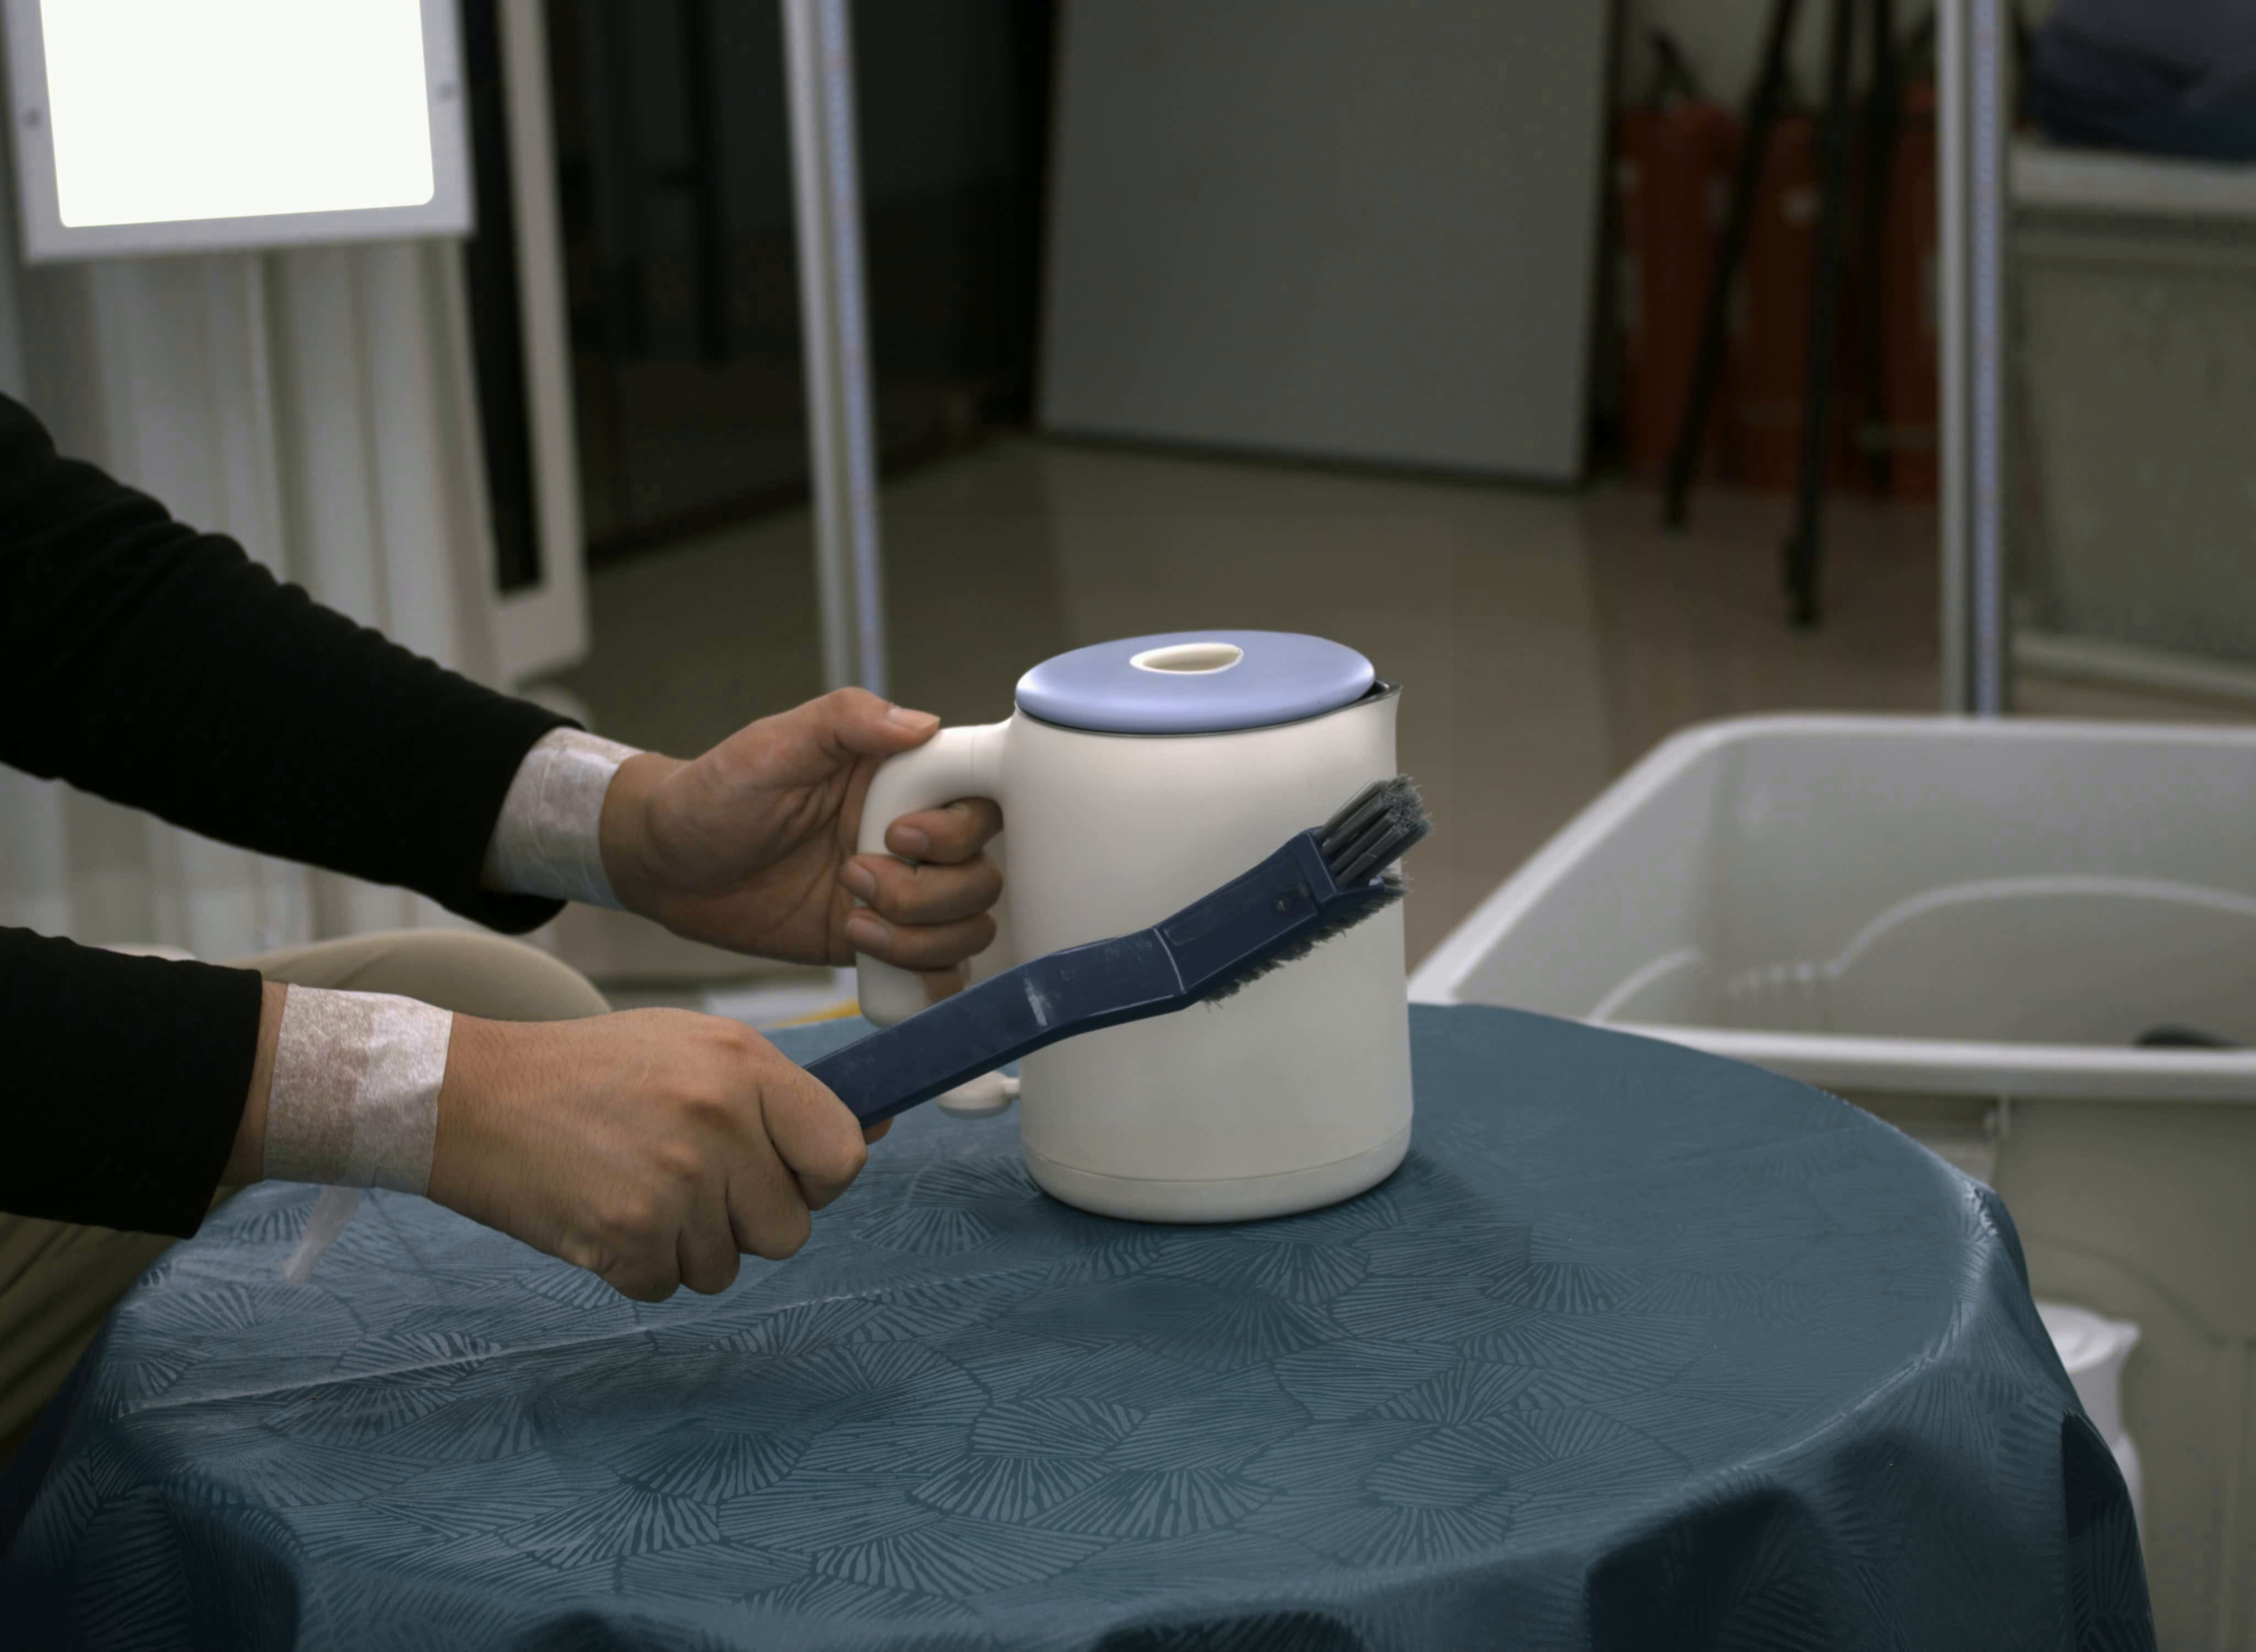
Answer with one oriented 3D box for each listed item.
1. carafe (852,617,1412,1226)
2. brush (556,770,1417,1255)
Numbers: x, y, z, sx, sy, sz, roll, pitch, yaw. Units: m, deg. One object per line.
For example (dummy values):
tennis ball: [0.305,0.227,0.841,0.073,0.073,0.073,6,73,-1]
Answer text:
carafe: [0.001,0.031,1.772,0.189,0.184,0.132,-3,13,10]
brush: [-0.043,0.054,1.615,0.270,0.034,0.096,-23,-18,-7]
